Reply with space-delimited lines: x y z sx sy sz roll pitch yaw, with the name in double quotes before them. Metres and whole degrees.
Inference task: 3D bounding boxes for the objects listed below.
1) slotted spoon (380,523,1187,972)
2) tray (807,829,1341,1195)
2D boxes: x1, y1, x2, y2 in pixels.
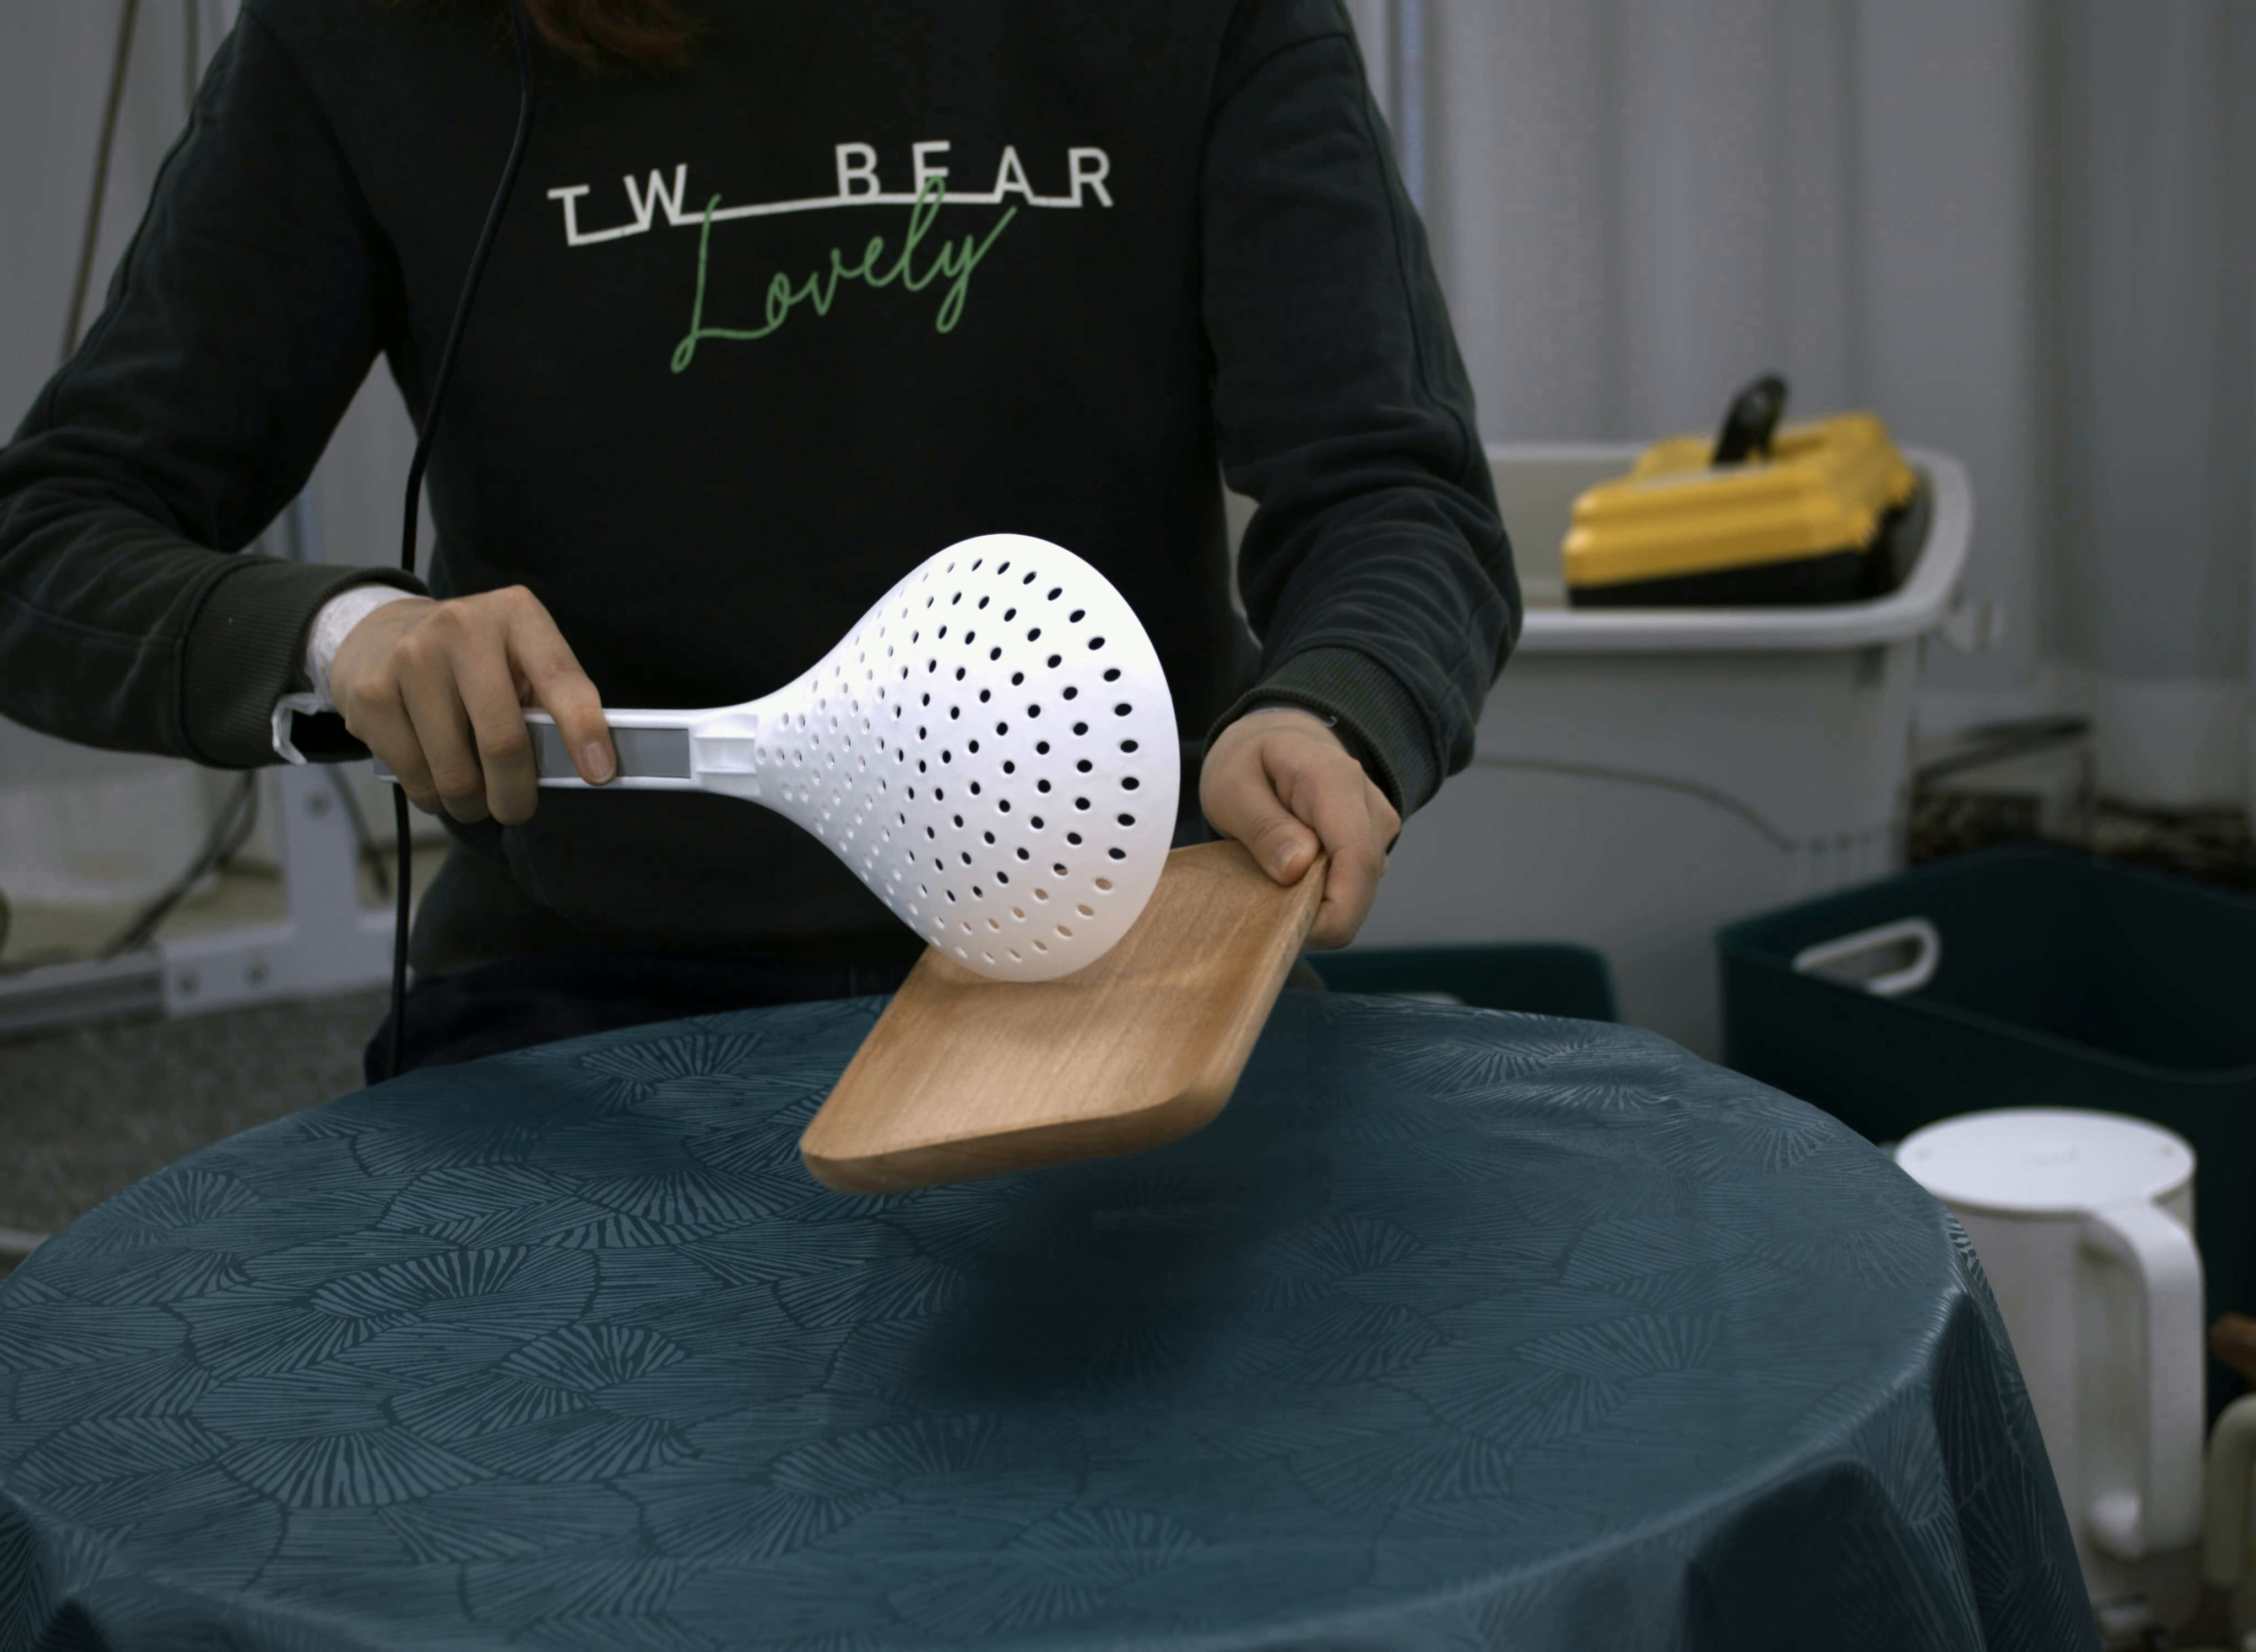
"slotted spoon" -0.118 -0.023 1.726 0.045 0.136 0.350 -2 1 -43
"tray" -0.011 0.053 1.627 0.130 0.023 0.252 -9 15 14
